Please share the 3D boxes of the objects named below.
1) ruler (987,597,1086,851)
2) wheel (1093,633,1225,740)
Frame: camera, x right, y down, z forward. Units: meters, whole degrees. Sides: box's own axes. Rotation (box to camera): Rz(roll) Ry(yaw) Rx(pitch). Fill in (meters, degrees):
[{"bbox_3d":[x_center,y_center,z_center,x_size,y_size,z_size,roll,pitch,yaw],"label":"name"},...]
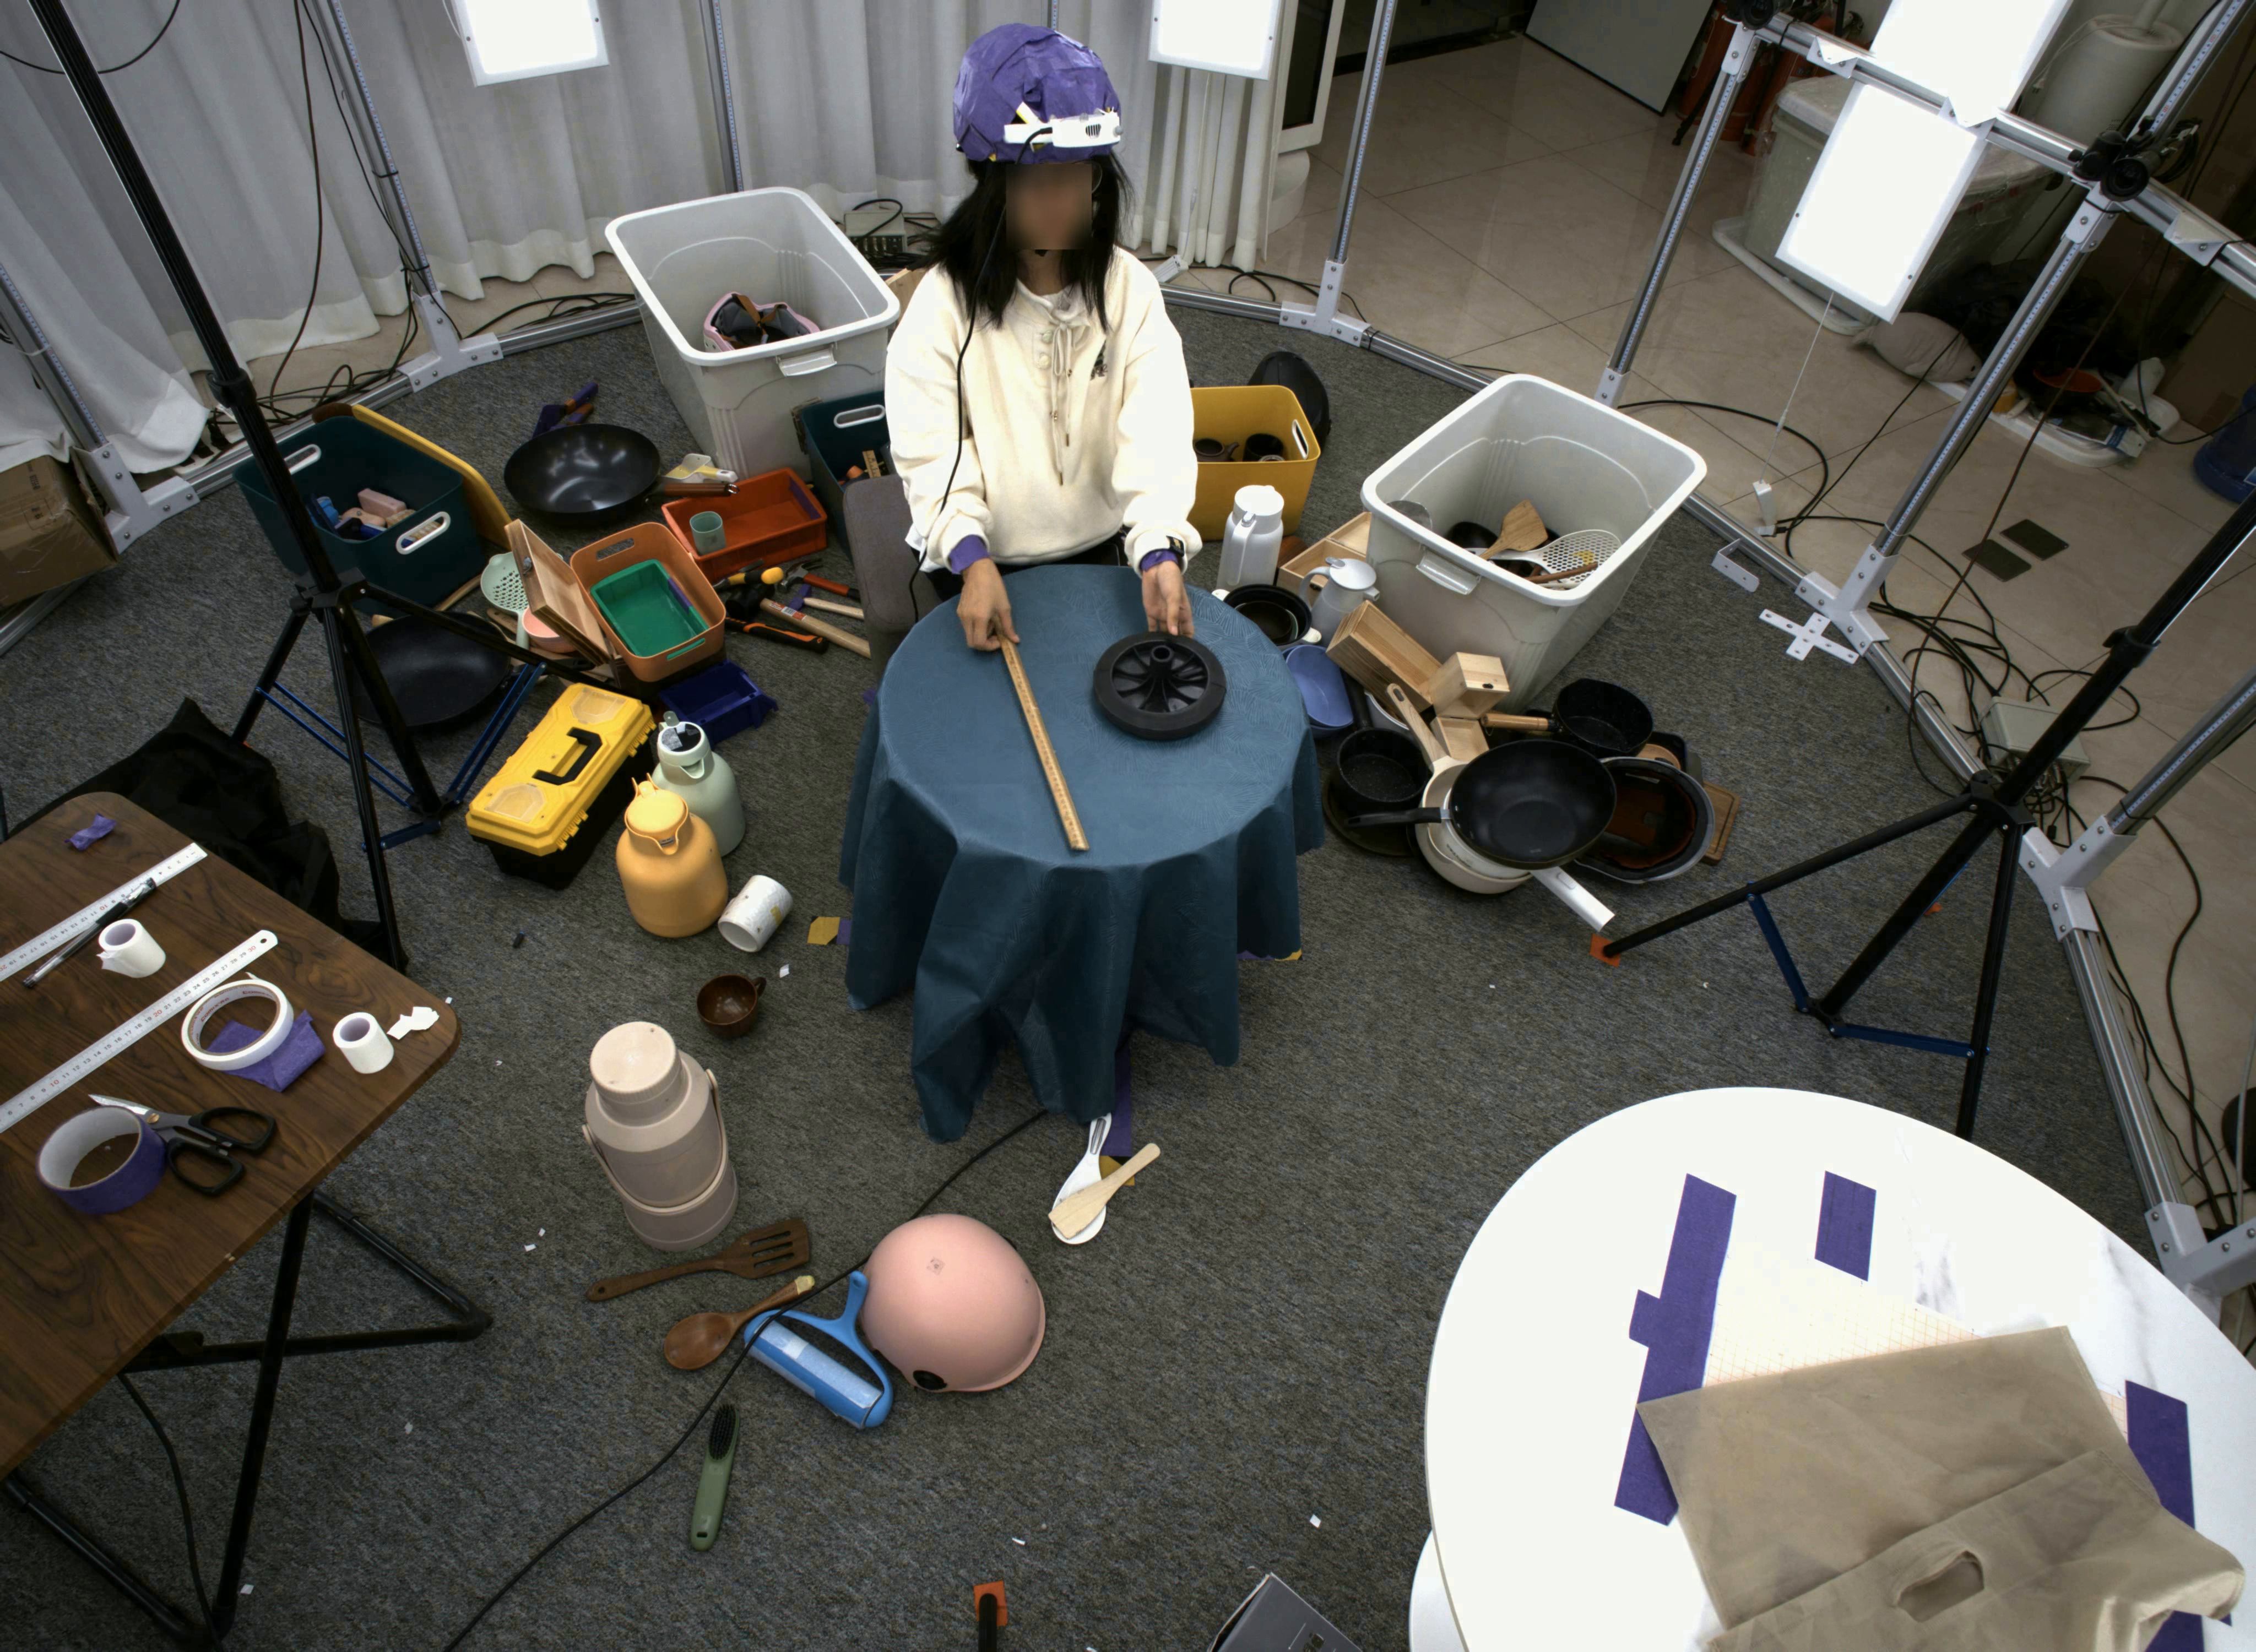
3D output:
[{"bbox_3d":[-0.134,-0.157,1.790,0.026,0.006,0.513,1,47,-25],"label":"ruler"},{"bbox_3d":[0.046,-0.213,1.806,0.191,0.077,0.190,-38,63,-26],"label":"wheel"}]
